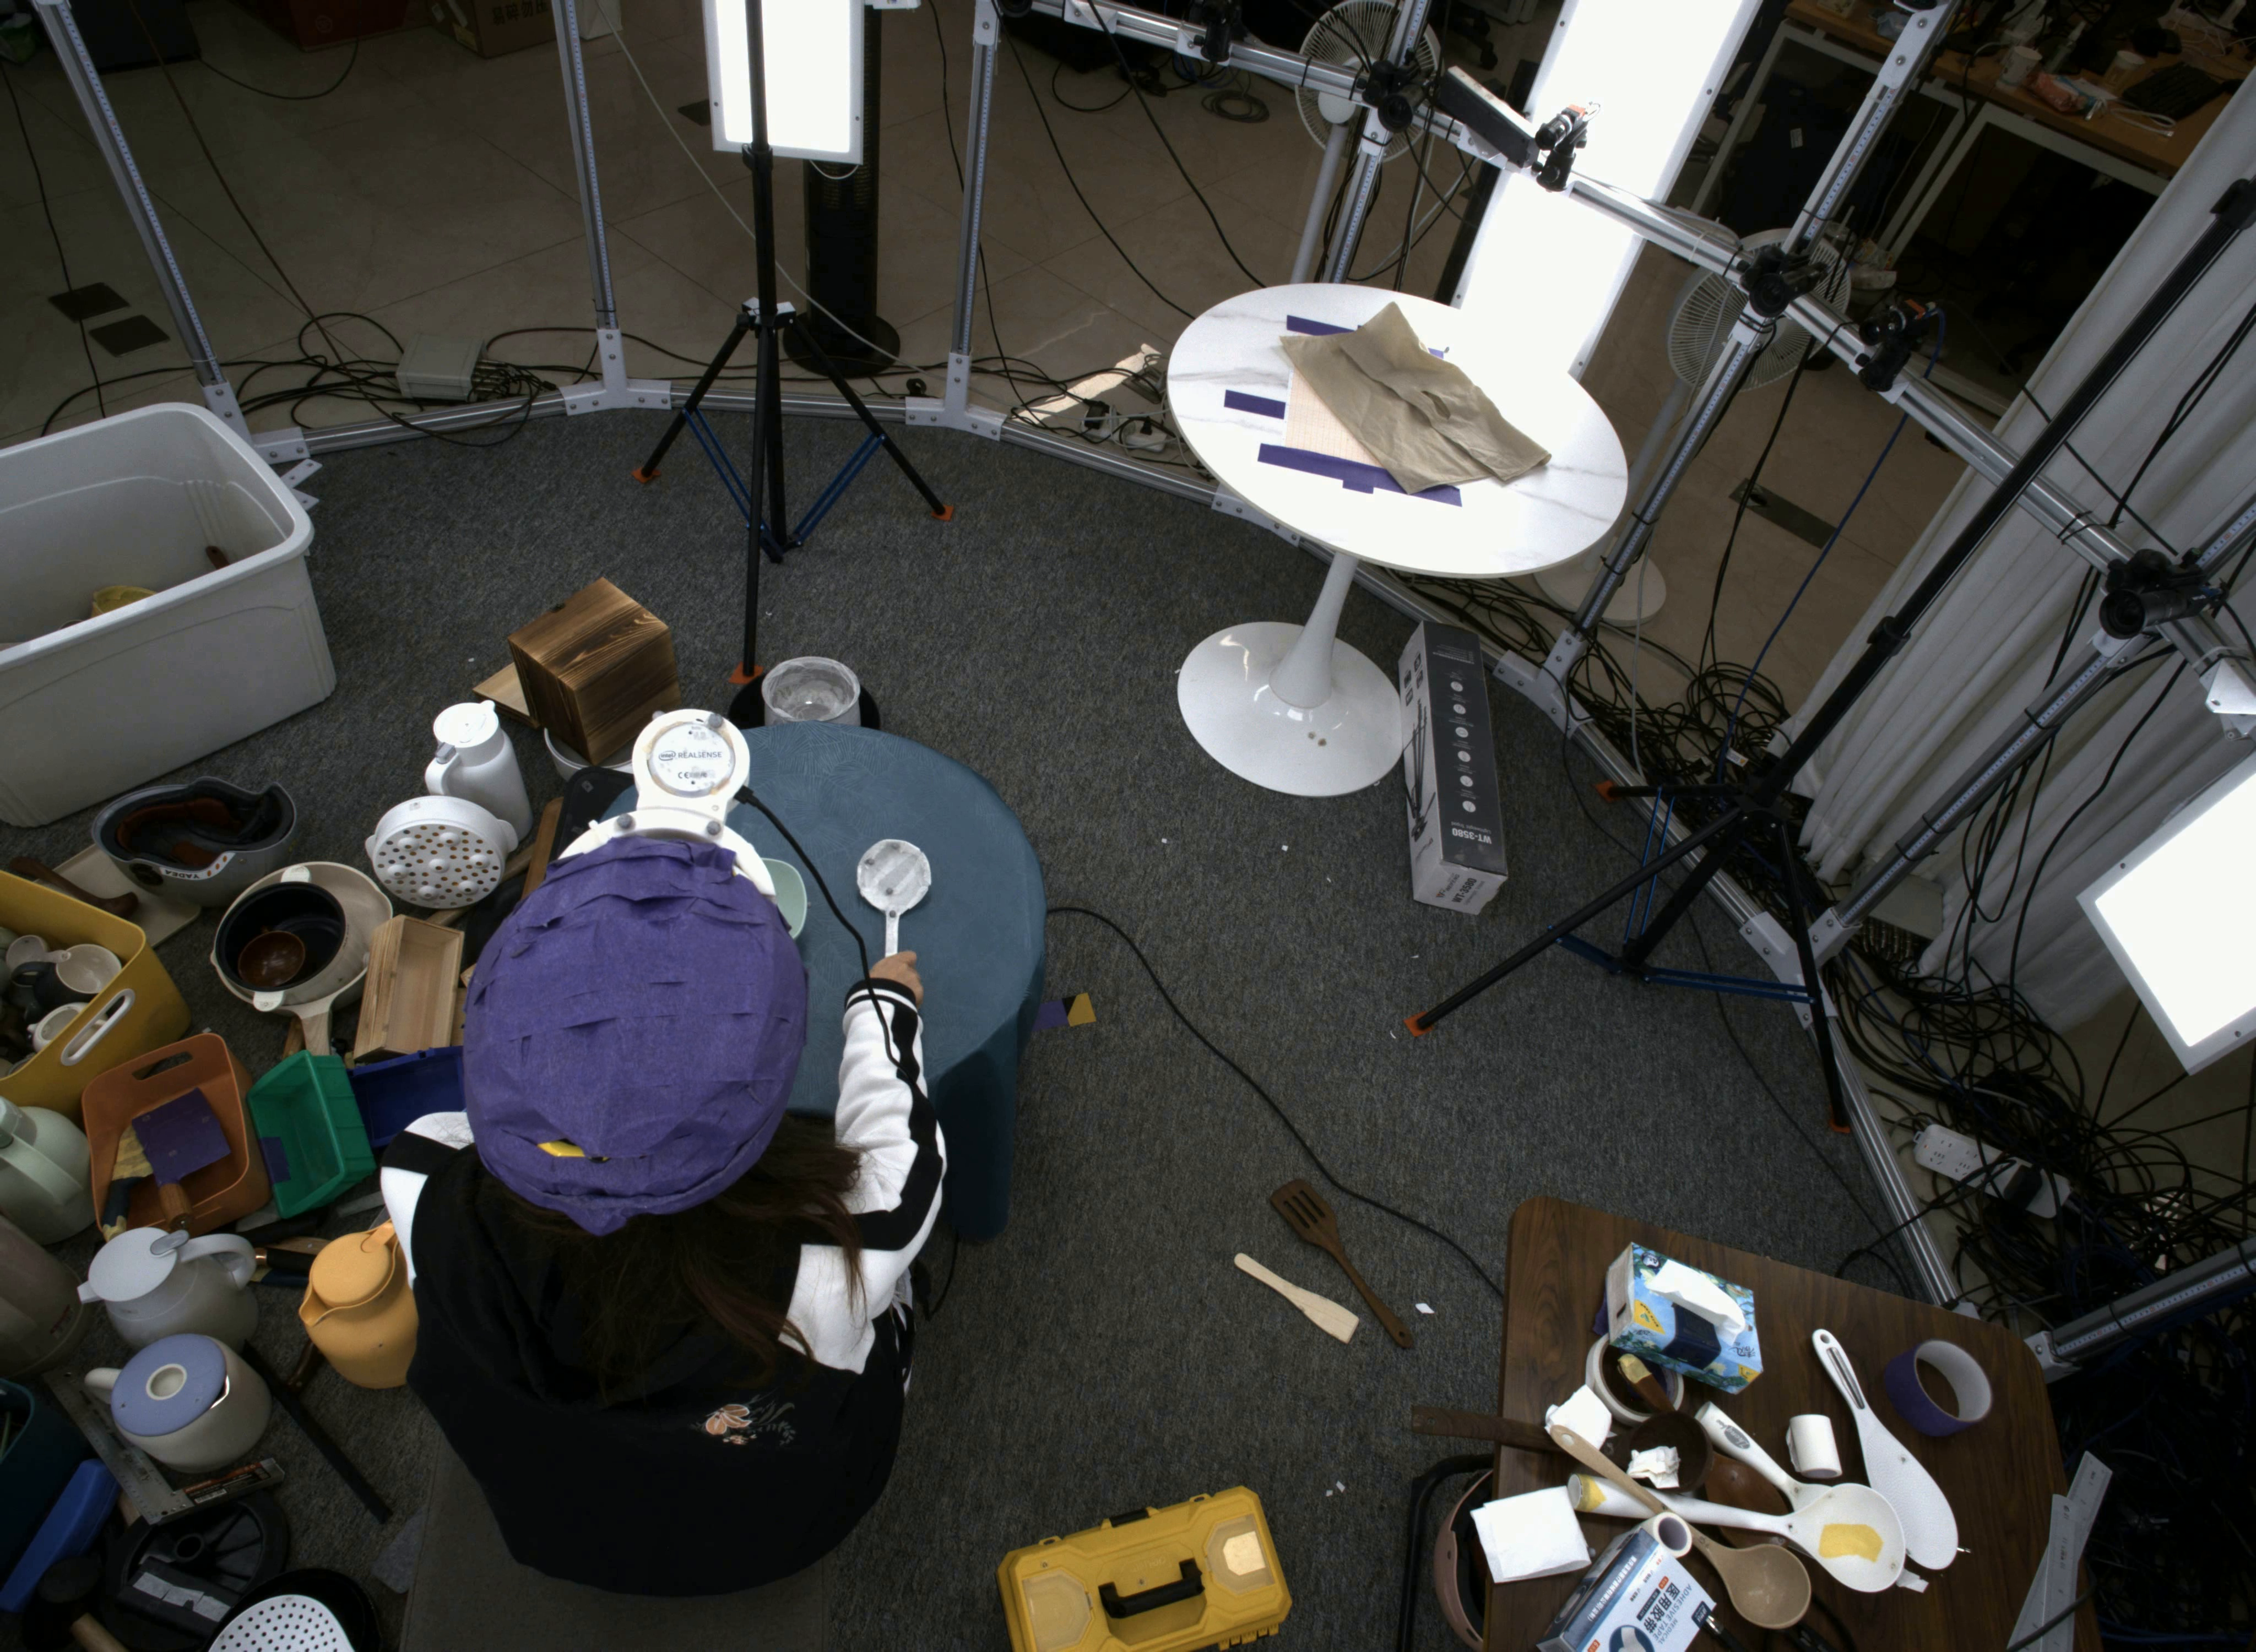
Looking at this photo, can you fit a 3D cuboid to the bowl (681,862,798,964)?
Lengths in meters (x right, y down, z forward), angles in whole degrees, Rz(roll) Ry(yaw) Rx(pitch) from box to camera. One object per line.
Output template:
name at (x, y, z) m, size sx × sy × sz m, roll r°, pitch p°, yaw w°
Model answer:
bowl at (-0.474, 0.115, 1.586) m, size 0.151 × 0.060 × 0.149 m, roll 8°, pitch 52°, yaw -9°

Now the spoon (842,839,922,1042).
spoon at (-0.310, 0.134, 1.601) m, size 0.100 × 0.061 × 0.271 m, roll 1°, pitch 46°, yaw -5°
